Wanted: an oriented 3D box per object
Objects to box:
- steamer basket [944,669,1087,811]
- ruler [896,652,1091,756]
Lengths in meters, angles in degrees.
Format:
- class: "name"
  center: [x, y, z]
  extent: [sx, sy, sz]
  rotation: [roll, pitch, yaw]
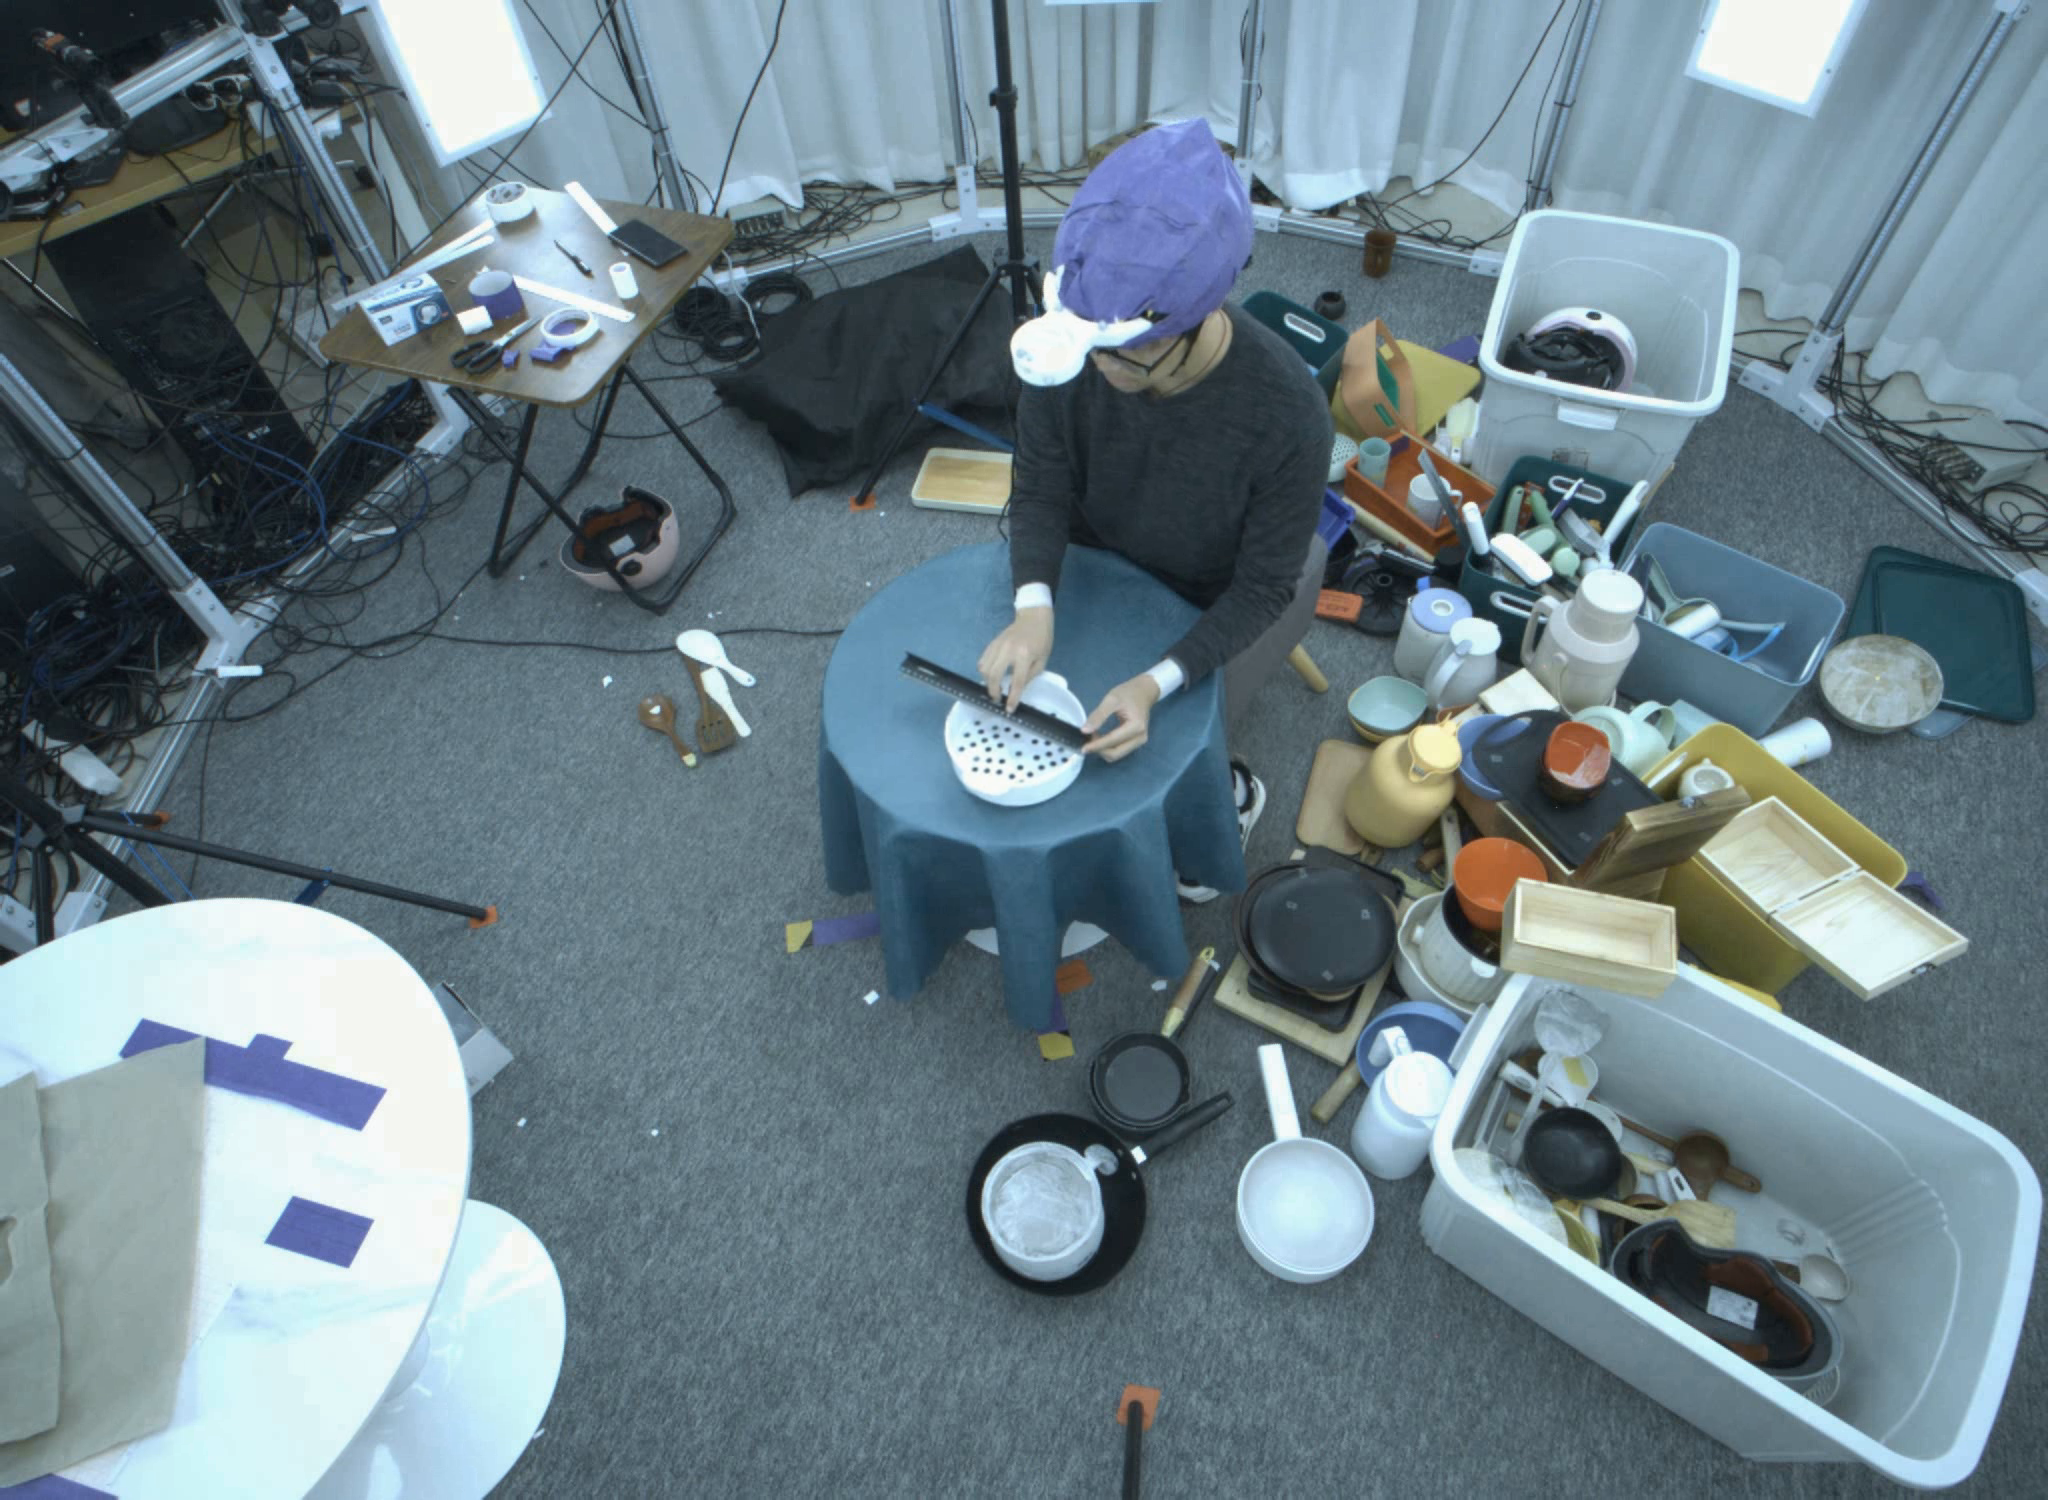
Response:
- class: "steamer basket"
  center: [-0.011, -0.009, 1.752]
  extent: [0.199, 0.070, 0.230]
  rotation: [19, 60, 15]
- class: "ruler"
  center: [-0.048, -0.069, 1.747]
  extent: [0.308, 0.017, 0.039]
  rotation: [25, 63, 18]
